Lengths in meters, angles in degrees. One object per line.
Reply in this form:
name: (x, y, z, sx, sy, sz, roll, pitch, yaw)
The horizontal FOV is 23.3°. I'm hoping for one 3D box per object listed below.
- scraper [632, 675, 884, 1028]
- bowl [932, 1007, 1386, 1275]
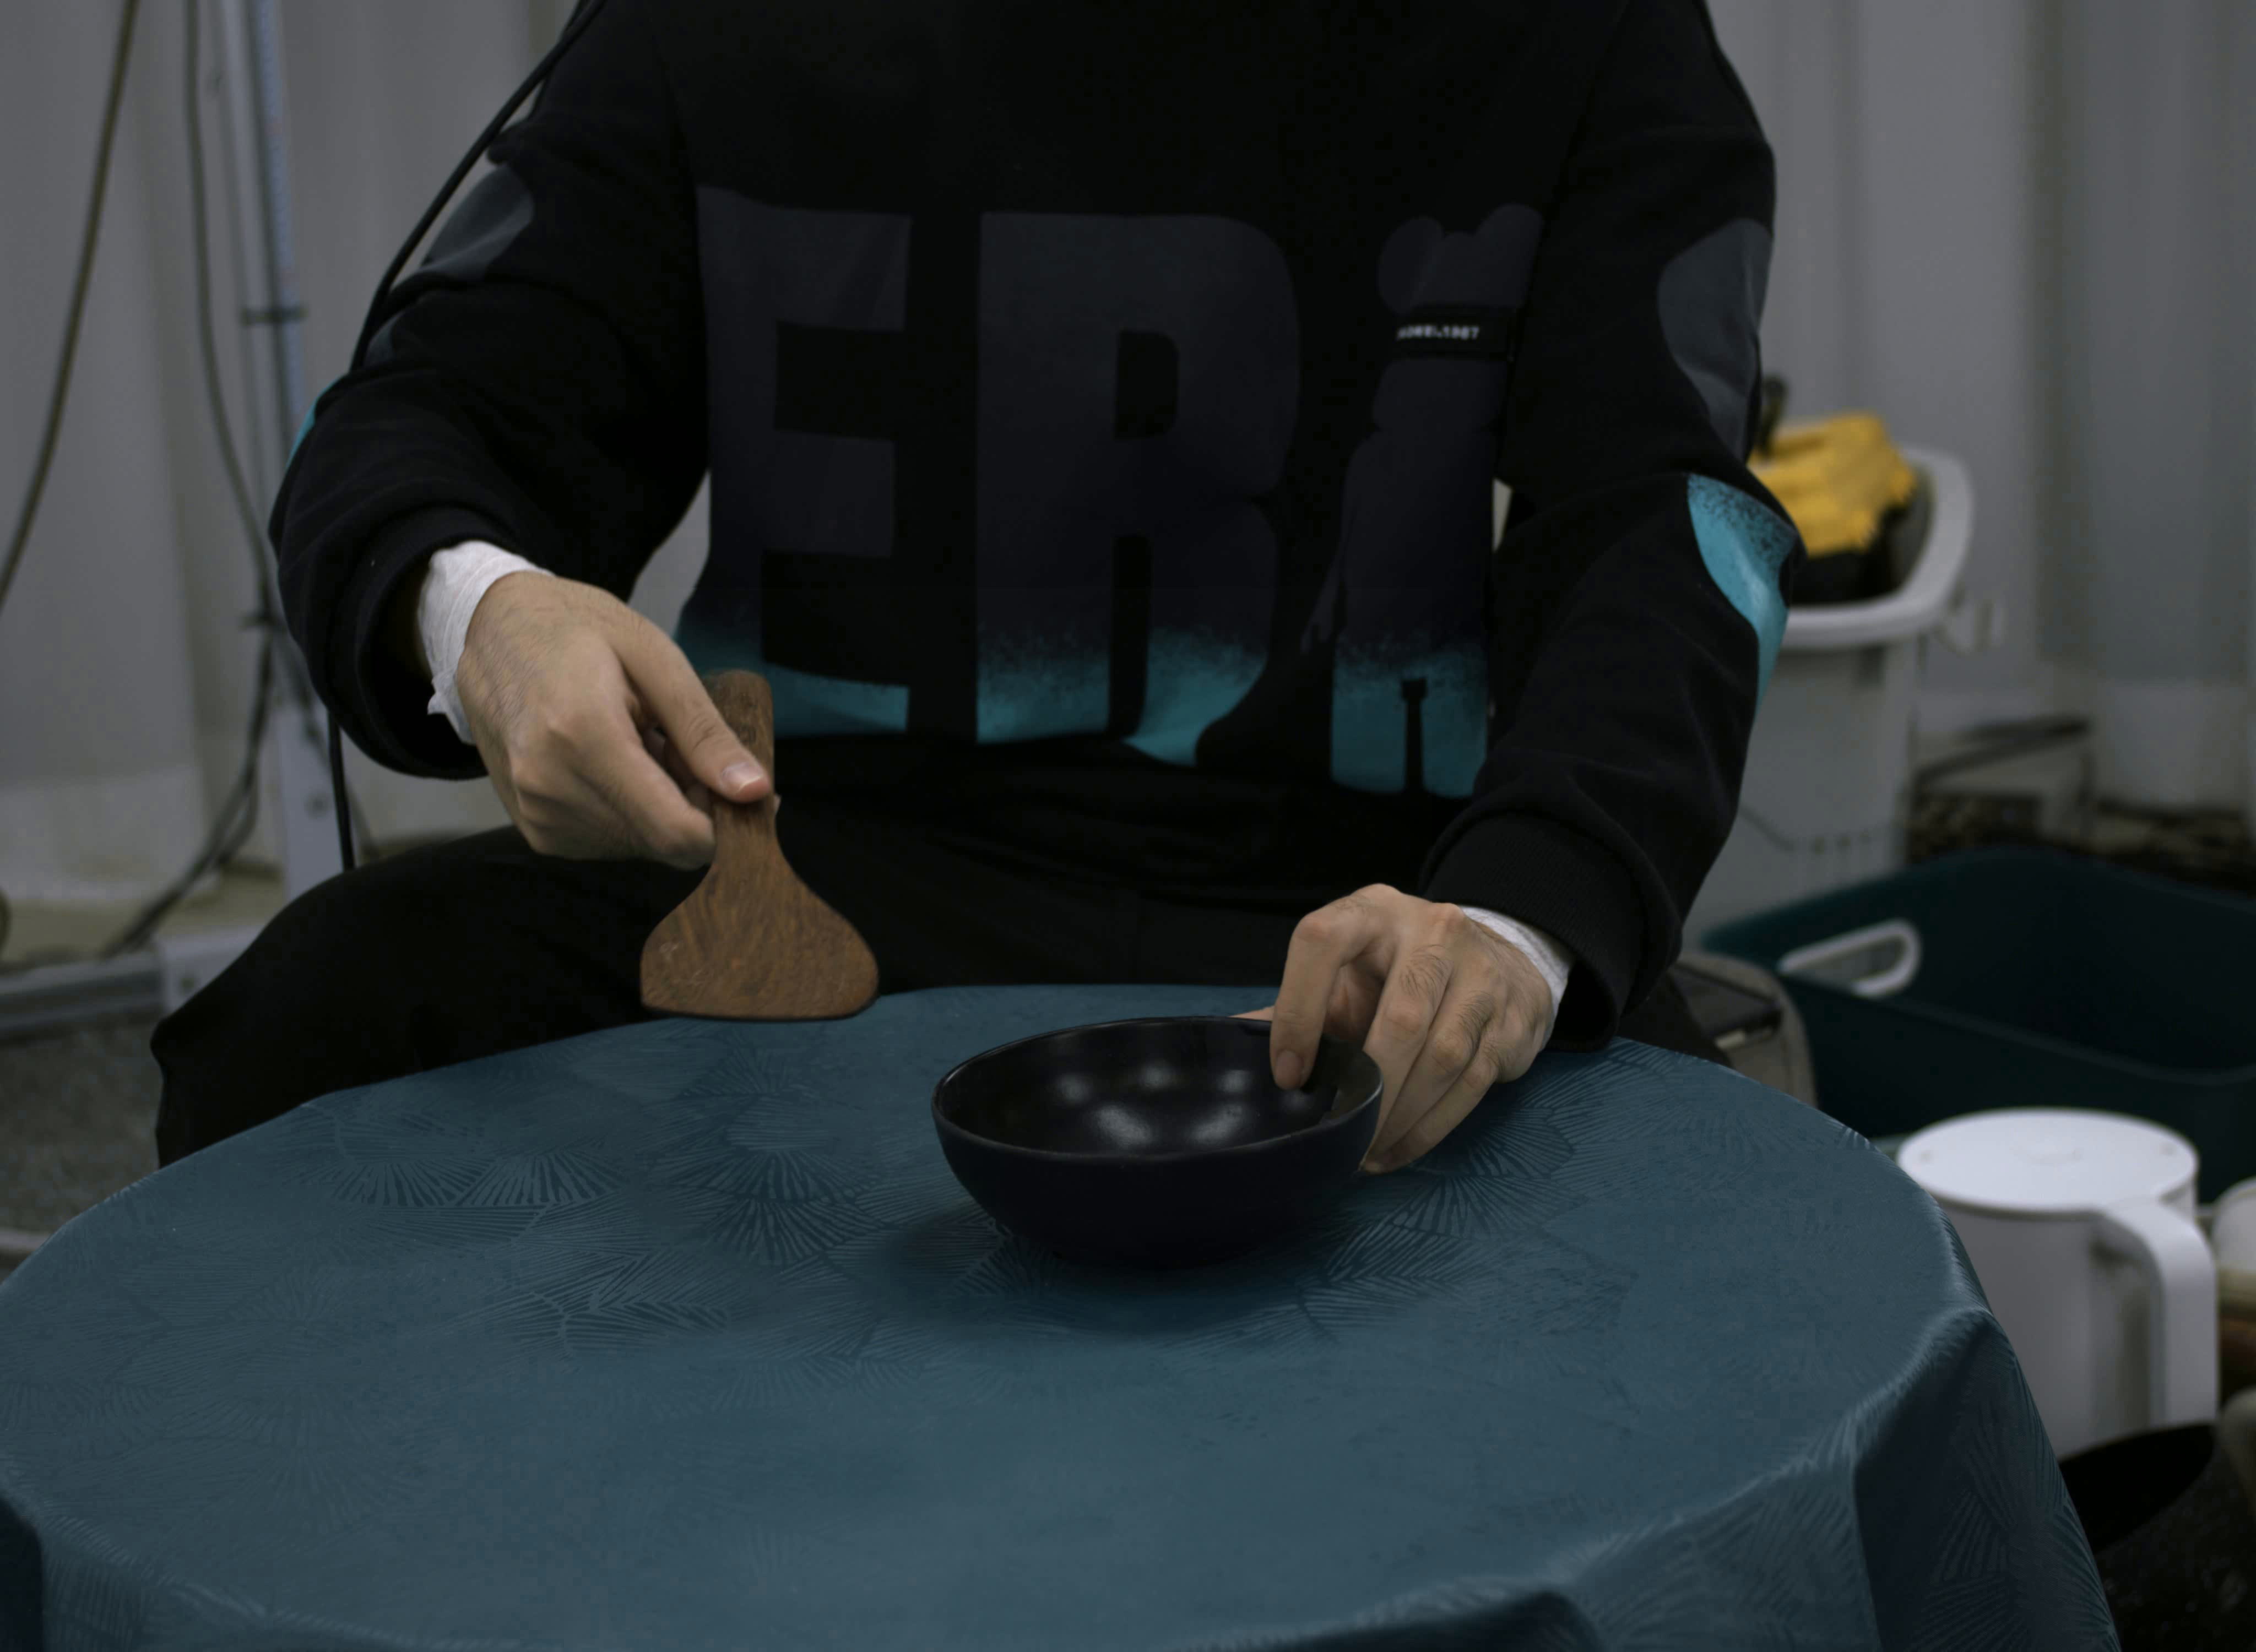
scraper: (-0.120, 0.007, 1.712, 0.075, 0.011, 0.214, 2, 31, -8)
bowl: (0.011, 0.101, 1.666, 0.139, 0.049, 0.141, -5, 17, 1)
